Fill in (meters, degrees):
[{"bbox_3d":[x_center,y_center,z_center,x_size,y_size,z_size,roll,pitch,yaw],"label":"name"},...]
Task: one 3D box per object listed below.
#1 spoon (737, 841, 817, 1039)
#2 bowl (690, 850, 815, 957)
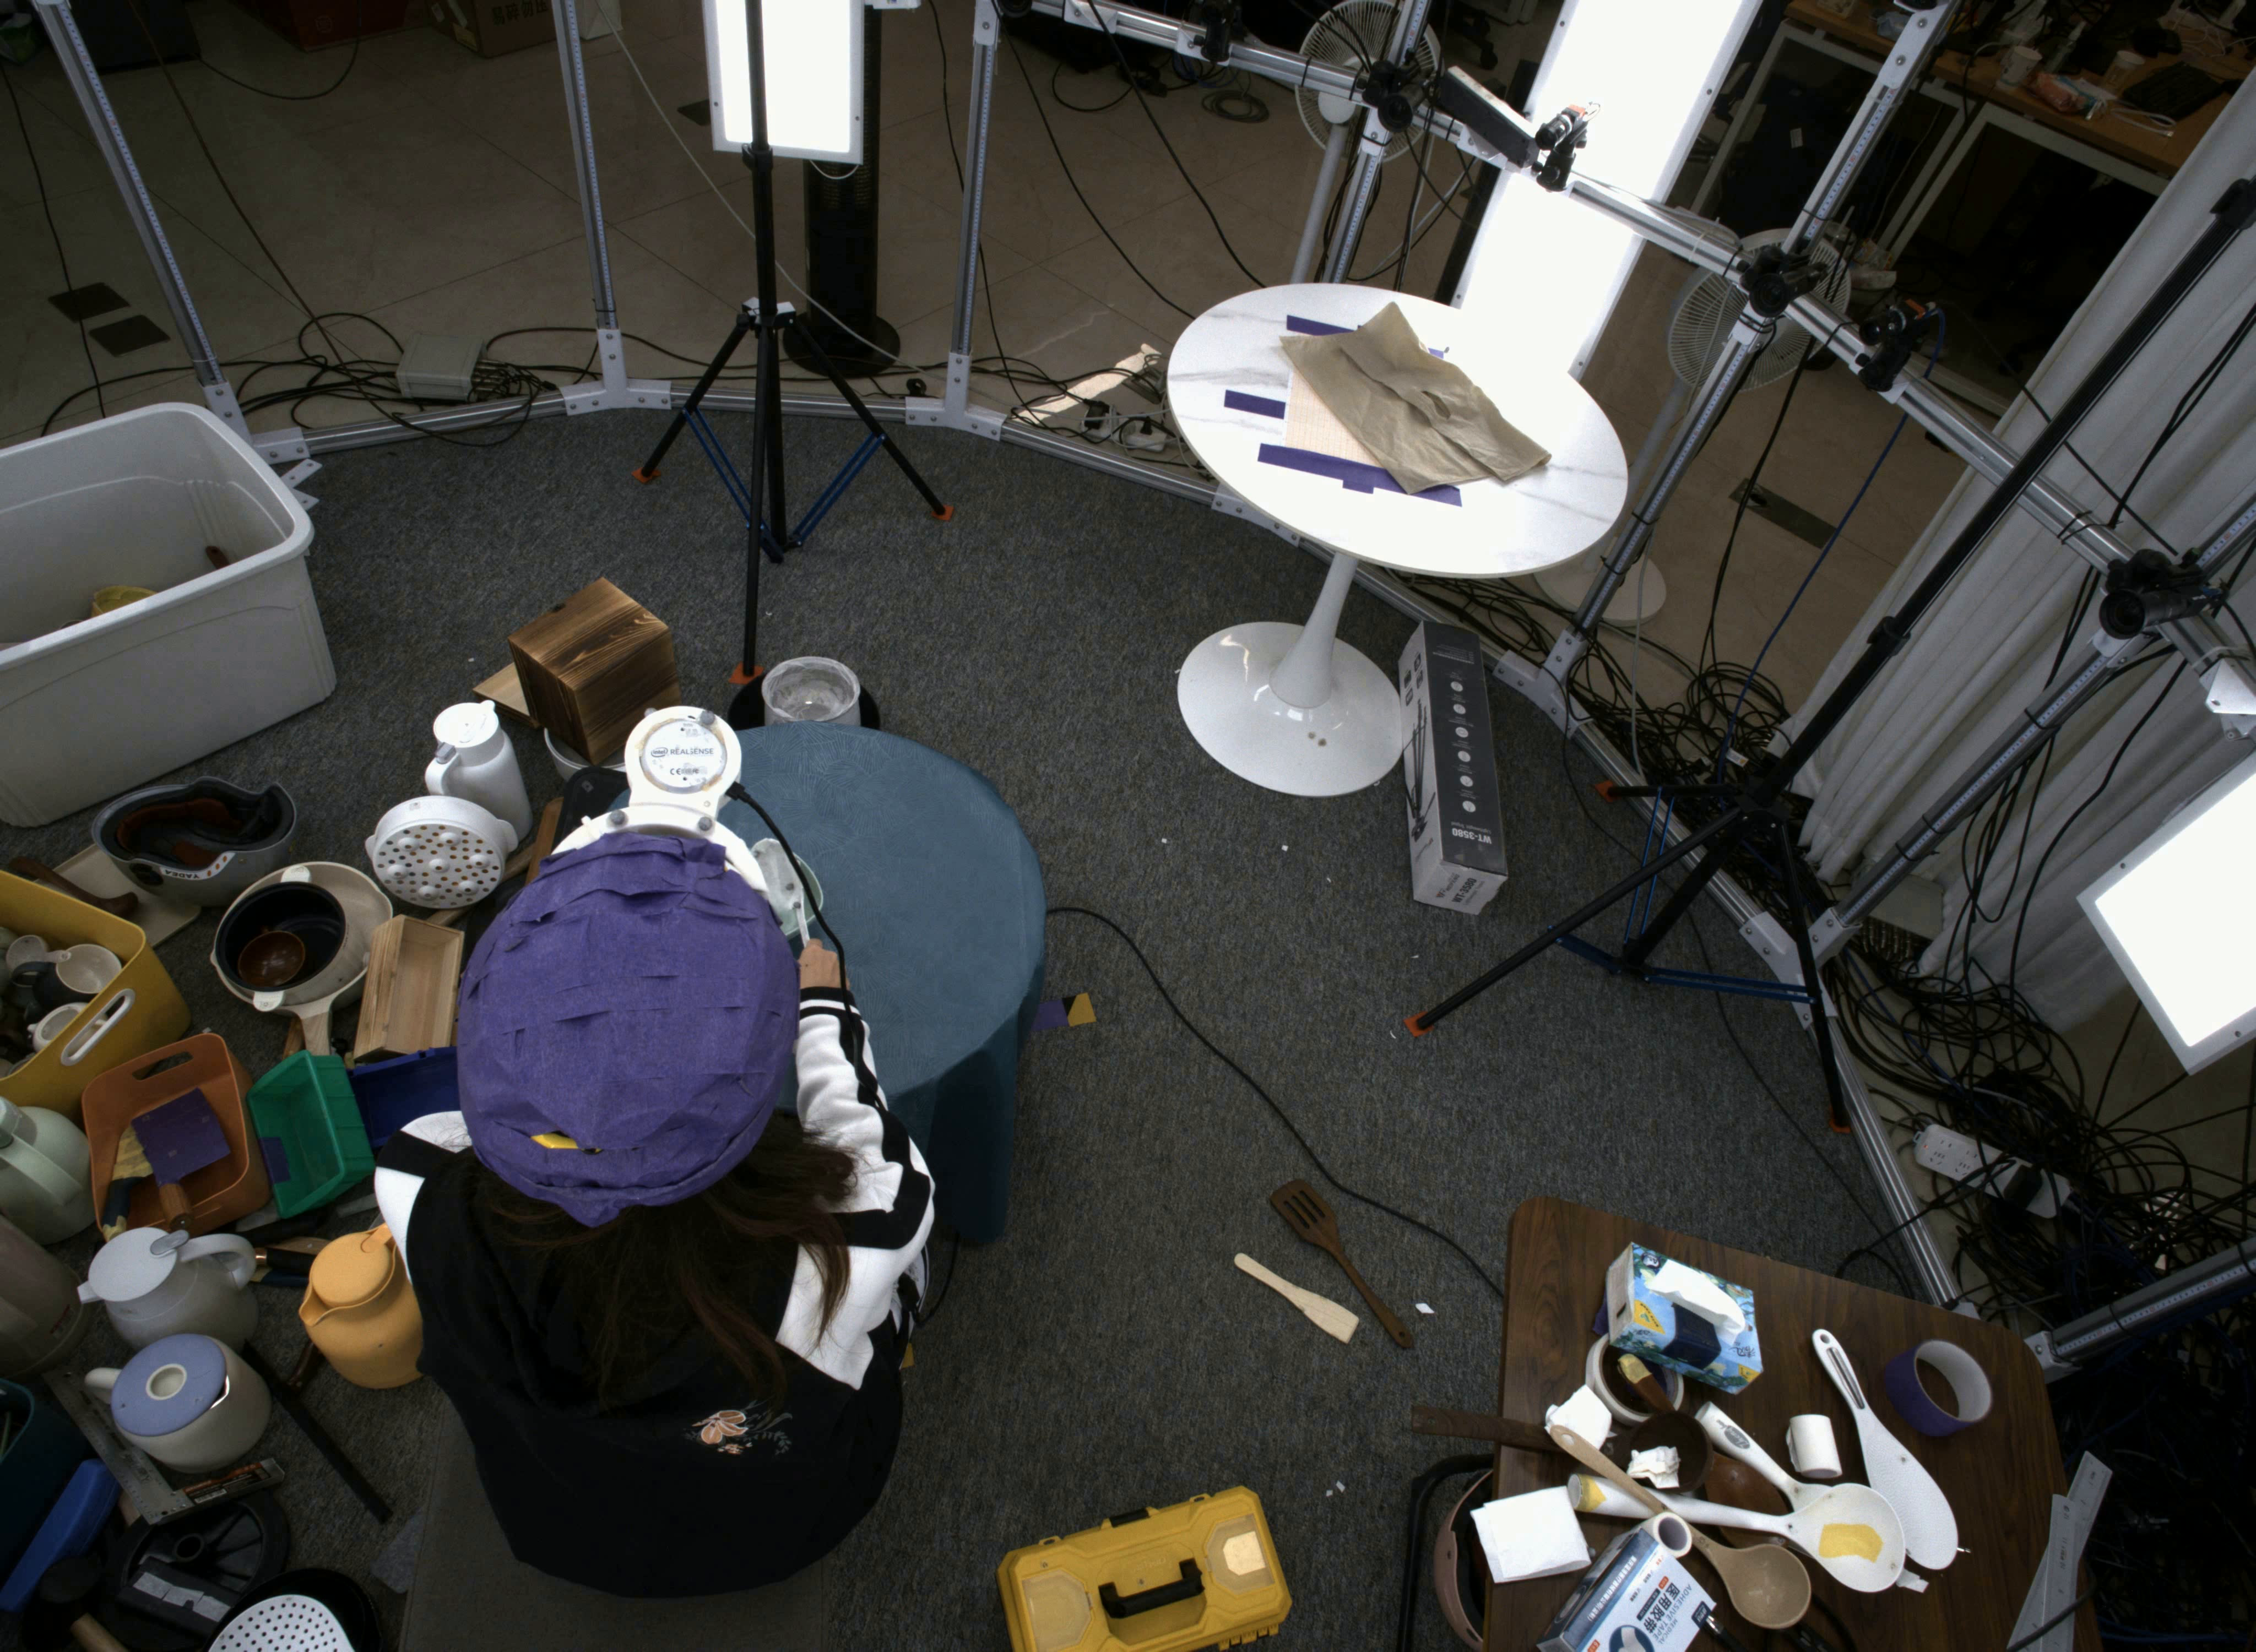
[{"bbox_3d":[-0.414,0.134,1.516,0.060,0.101,0.269,9,42,-33],"label":"spoon"},{"bbox_3d":[-0.461,0.103,1.597,0.151,0.060,0.149,8,51,-8],"label":"bowl"}]
